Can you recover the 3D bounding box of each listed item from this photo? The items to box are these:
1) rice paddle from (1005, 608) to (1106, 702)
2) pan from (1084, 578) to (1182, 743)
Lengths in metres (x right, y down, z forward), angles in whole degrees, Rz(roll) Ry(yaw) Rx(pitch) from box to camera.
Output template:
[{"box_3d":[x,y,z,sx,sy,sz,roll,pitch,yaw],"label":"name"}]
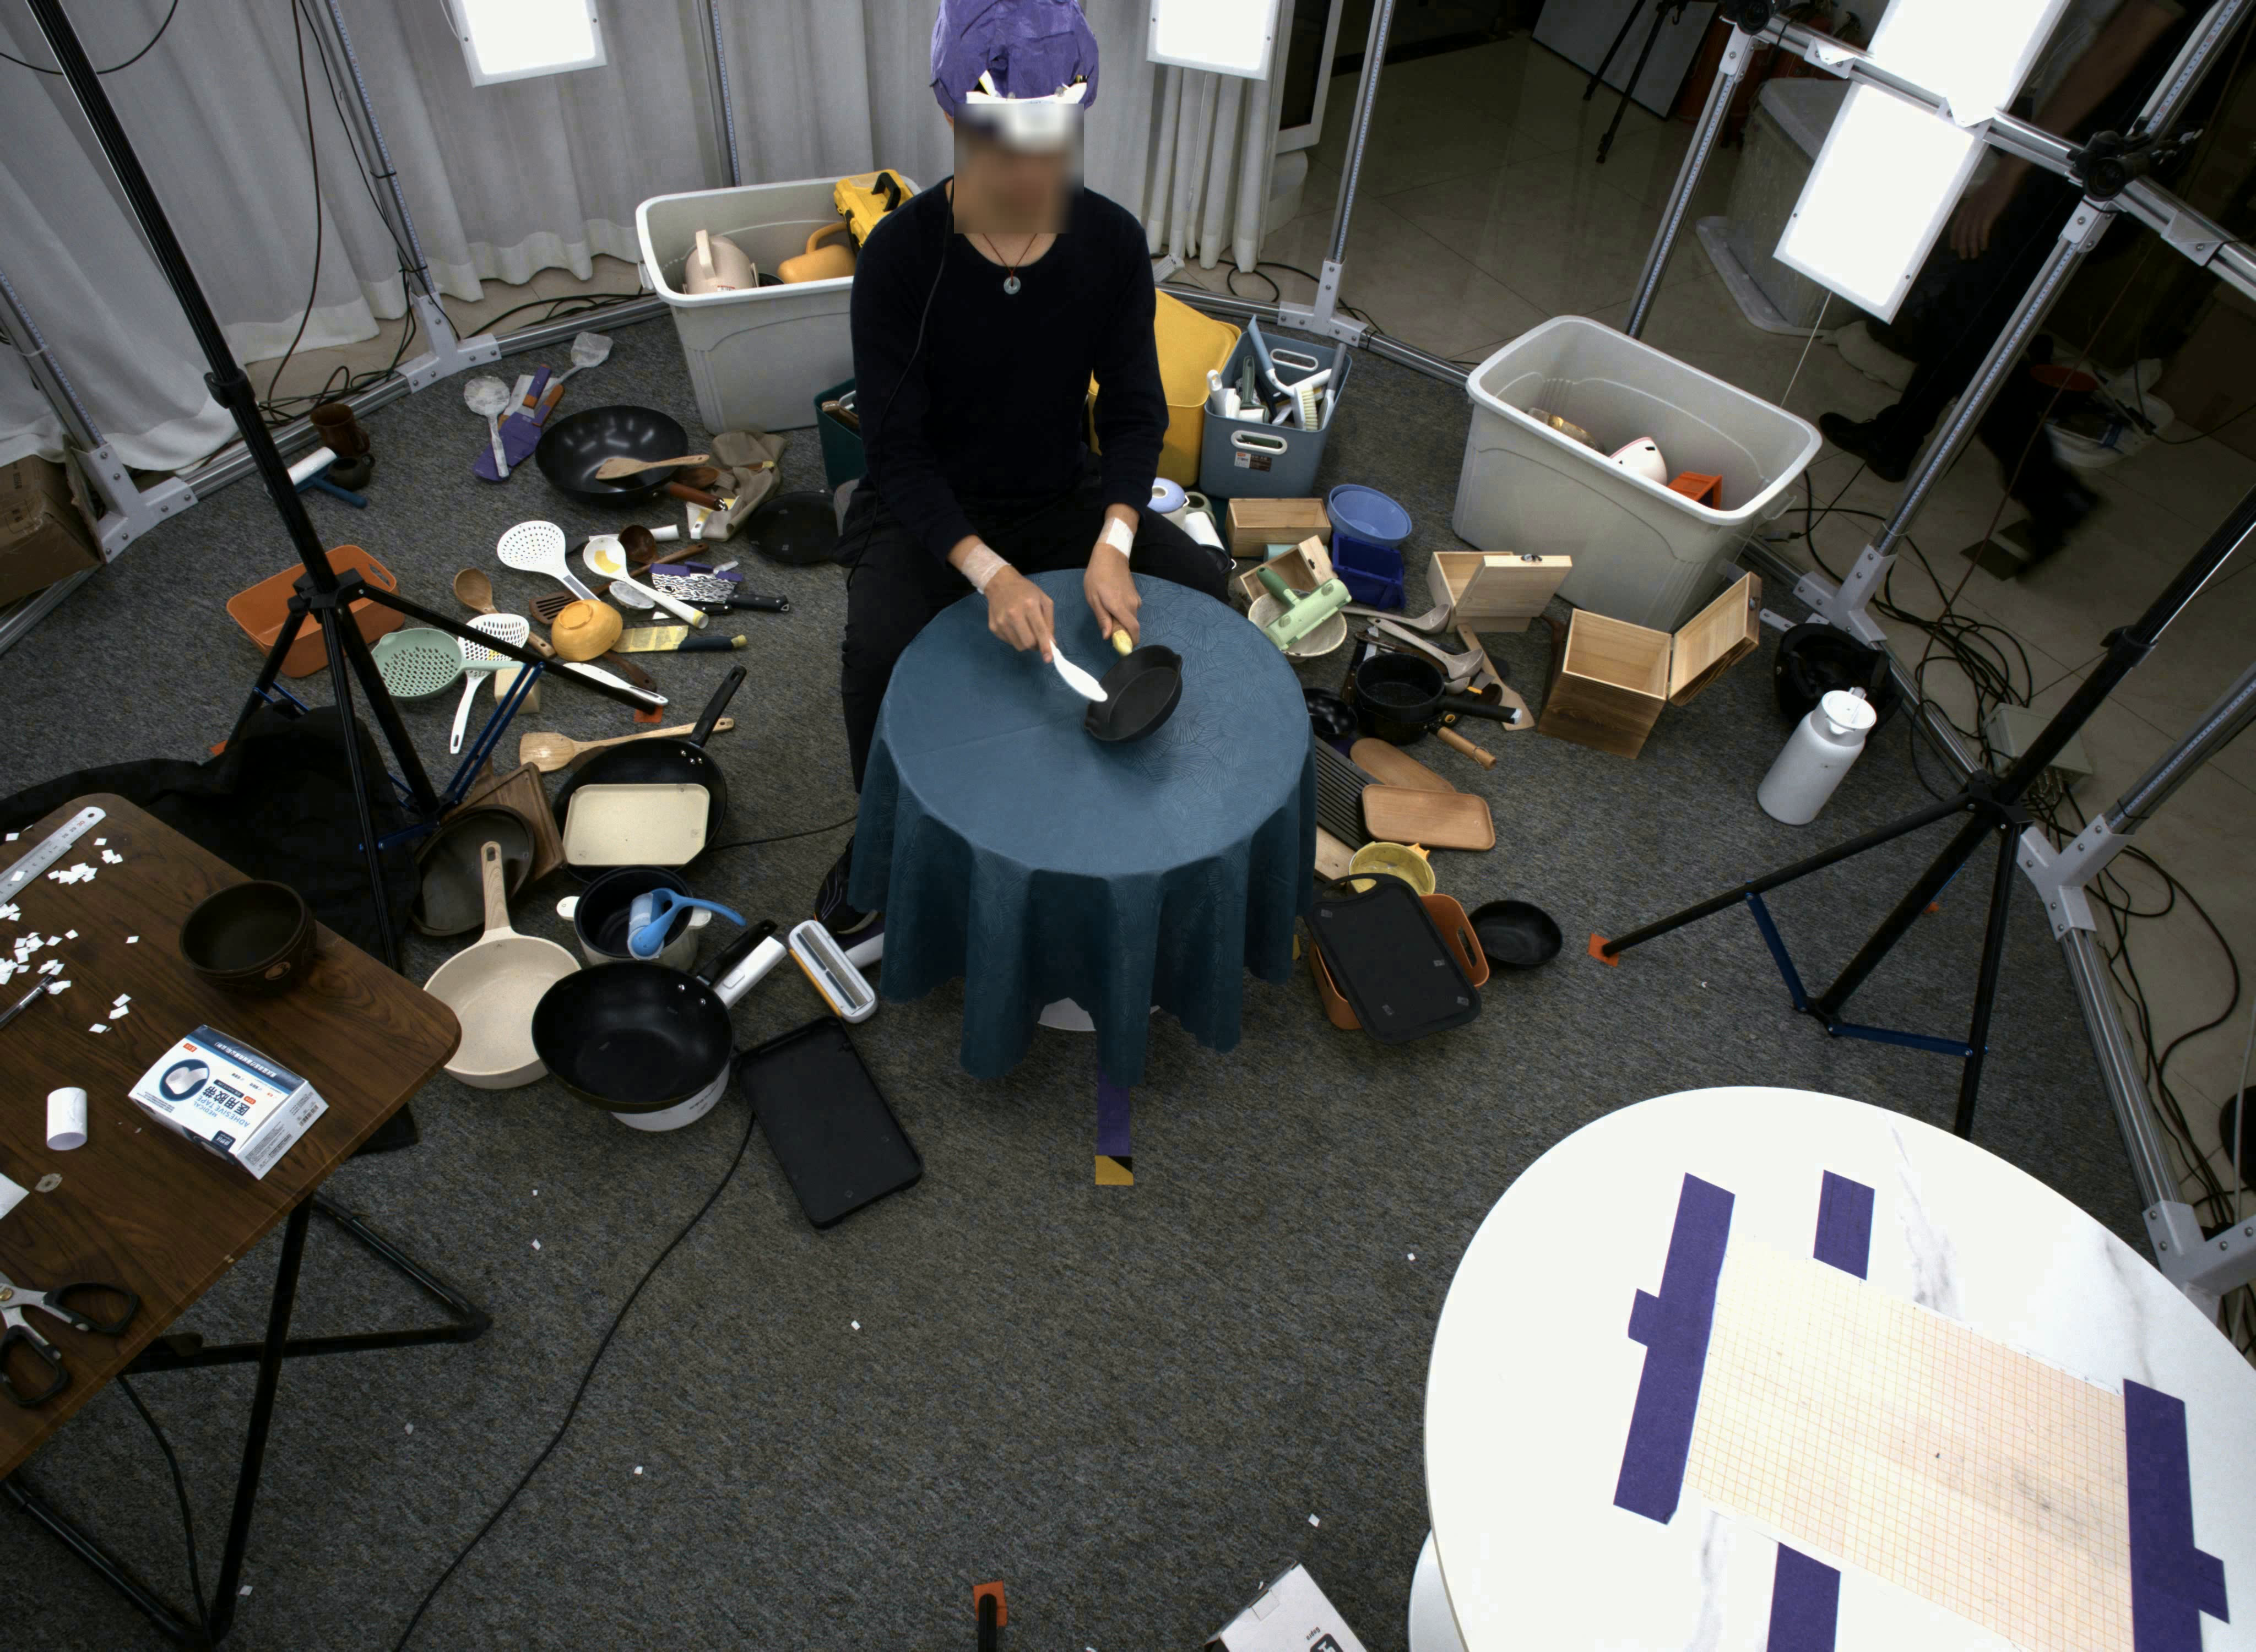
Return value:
[{"box_3d":[-0.100,-0.235,1.784,0.068,0.029,0.209,-4,41,-48],"label":"rice paddle"},{"box_3d":[0.000,-0.240,1.811,0.168,0.048,0.332,-31,42,22],"label":"pan"}]
